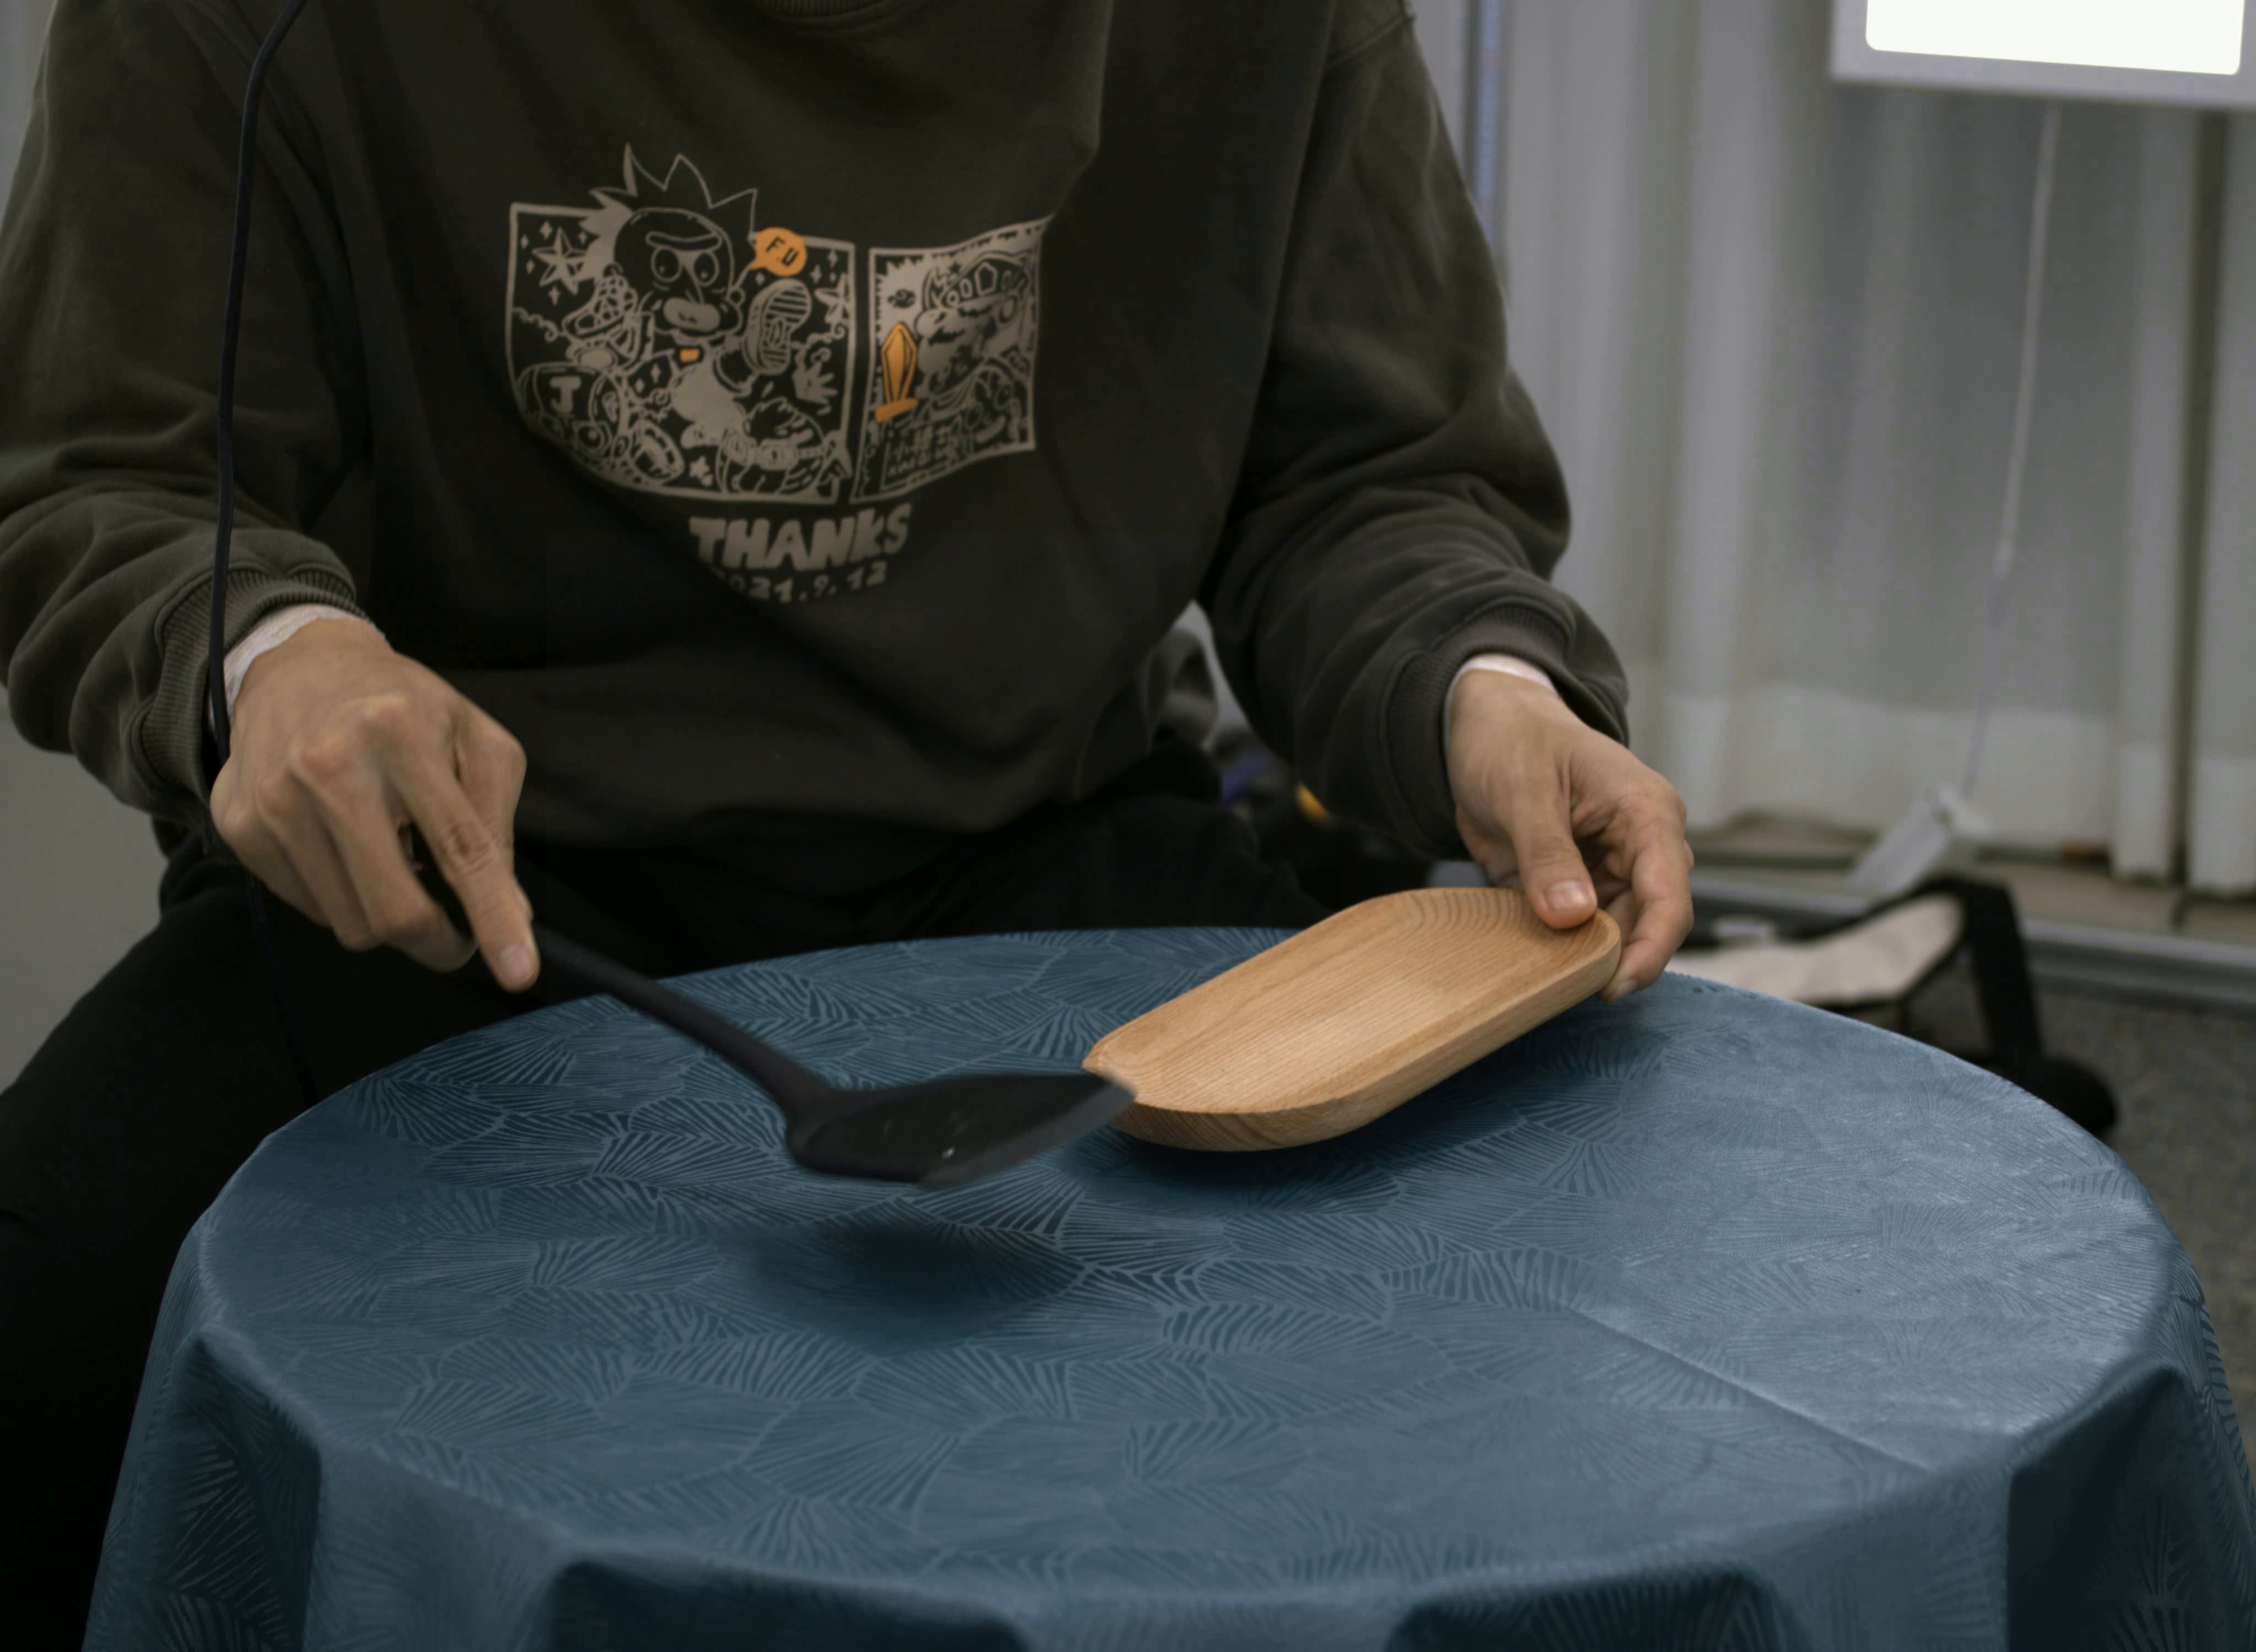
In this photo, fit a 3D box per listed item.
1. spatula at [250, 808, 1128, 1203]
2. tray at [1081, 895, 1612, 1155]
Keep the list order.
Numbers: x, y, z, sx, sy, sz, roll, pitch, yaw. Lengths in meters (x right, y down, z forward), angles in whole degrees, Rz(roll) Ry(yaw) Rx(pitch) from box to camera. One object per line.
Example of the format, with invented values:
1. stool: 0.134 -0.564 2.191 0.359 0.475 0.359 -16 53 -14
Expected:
1. spatula: -0.152 0.049 1.622 0.322 0.040 0.100 27 28 27
2. tray: 0.074 0.063 1.716 0.100 0.020 0.232 9 22 34
